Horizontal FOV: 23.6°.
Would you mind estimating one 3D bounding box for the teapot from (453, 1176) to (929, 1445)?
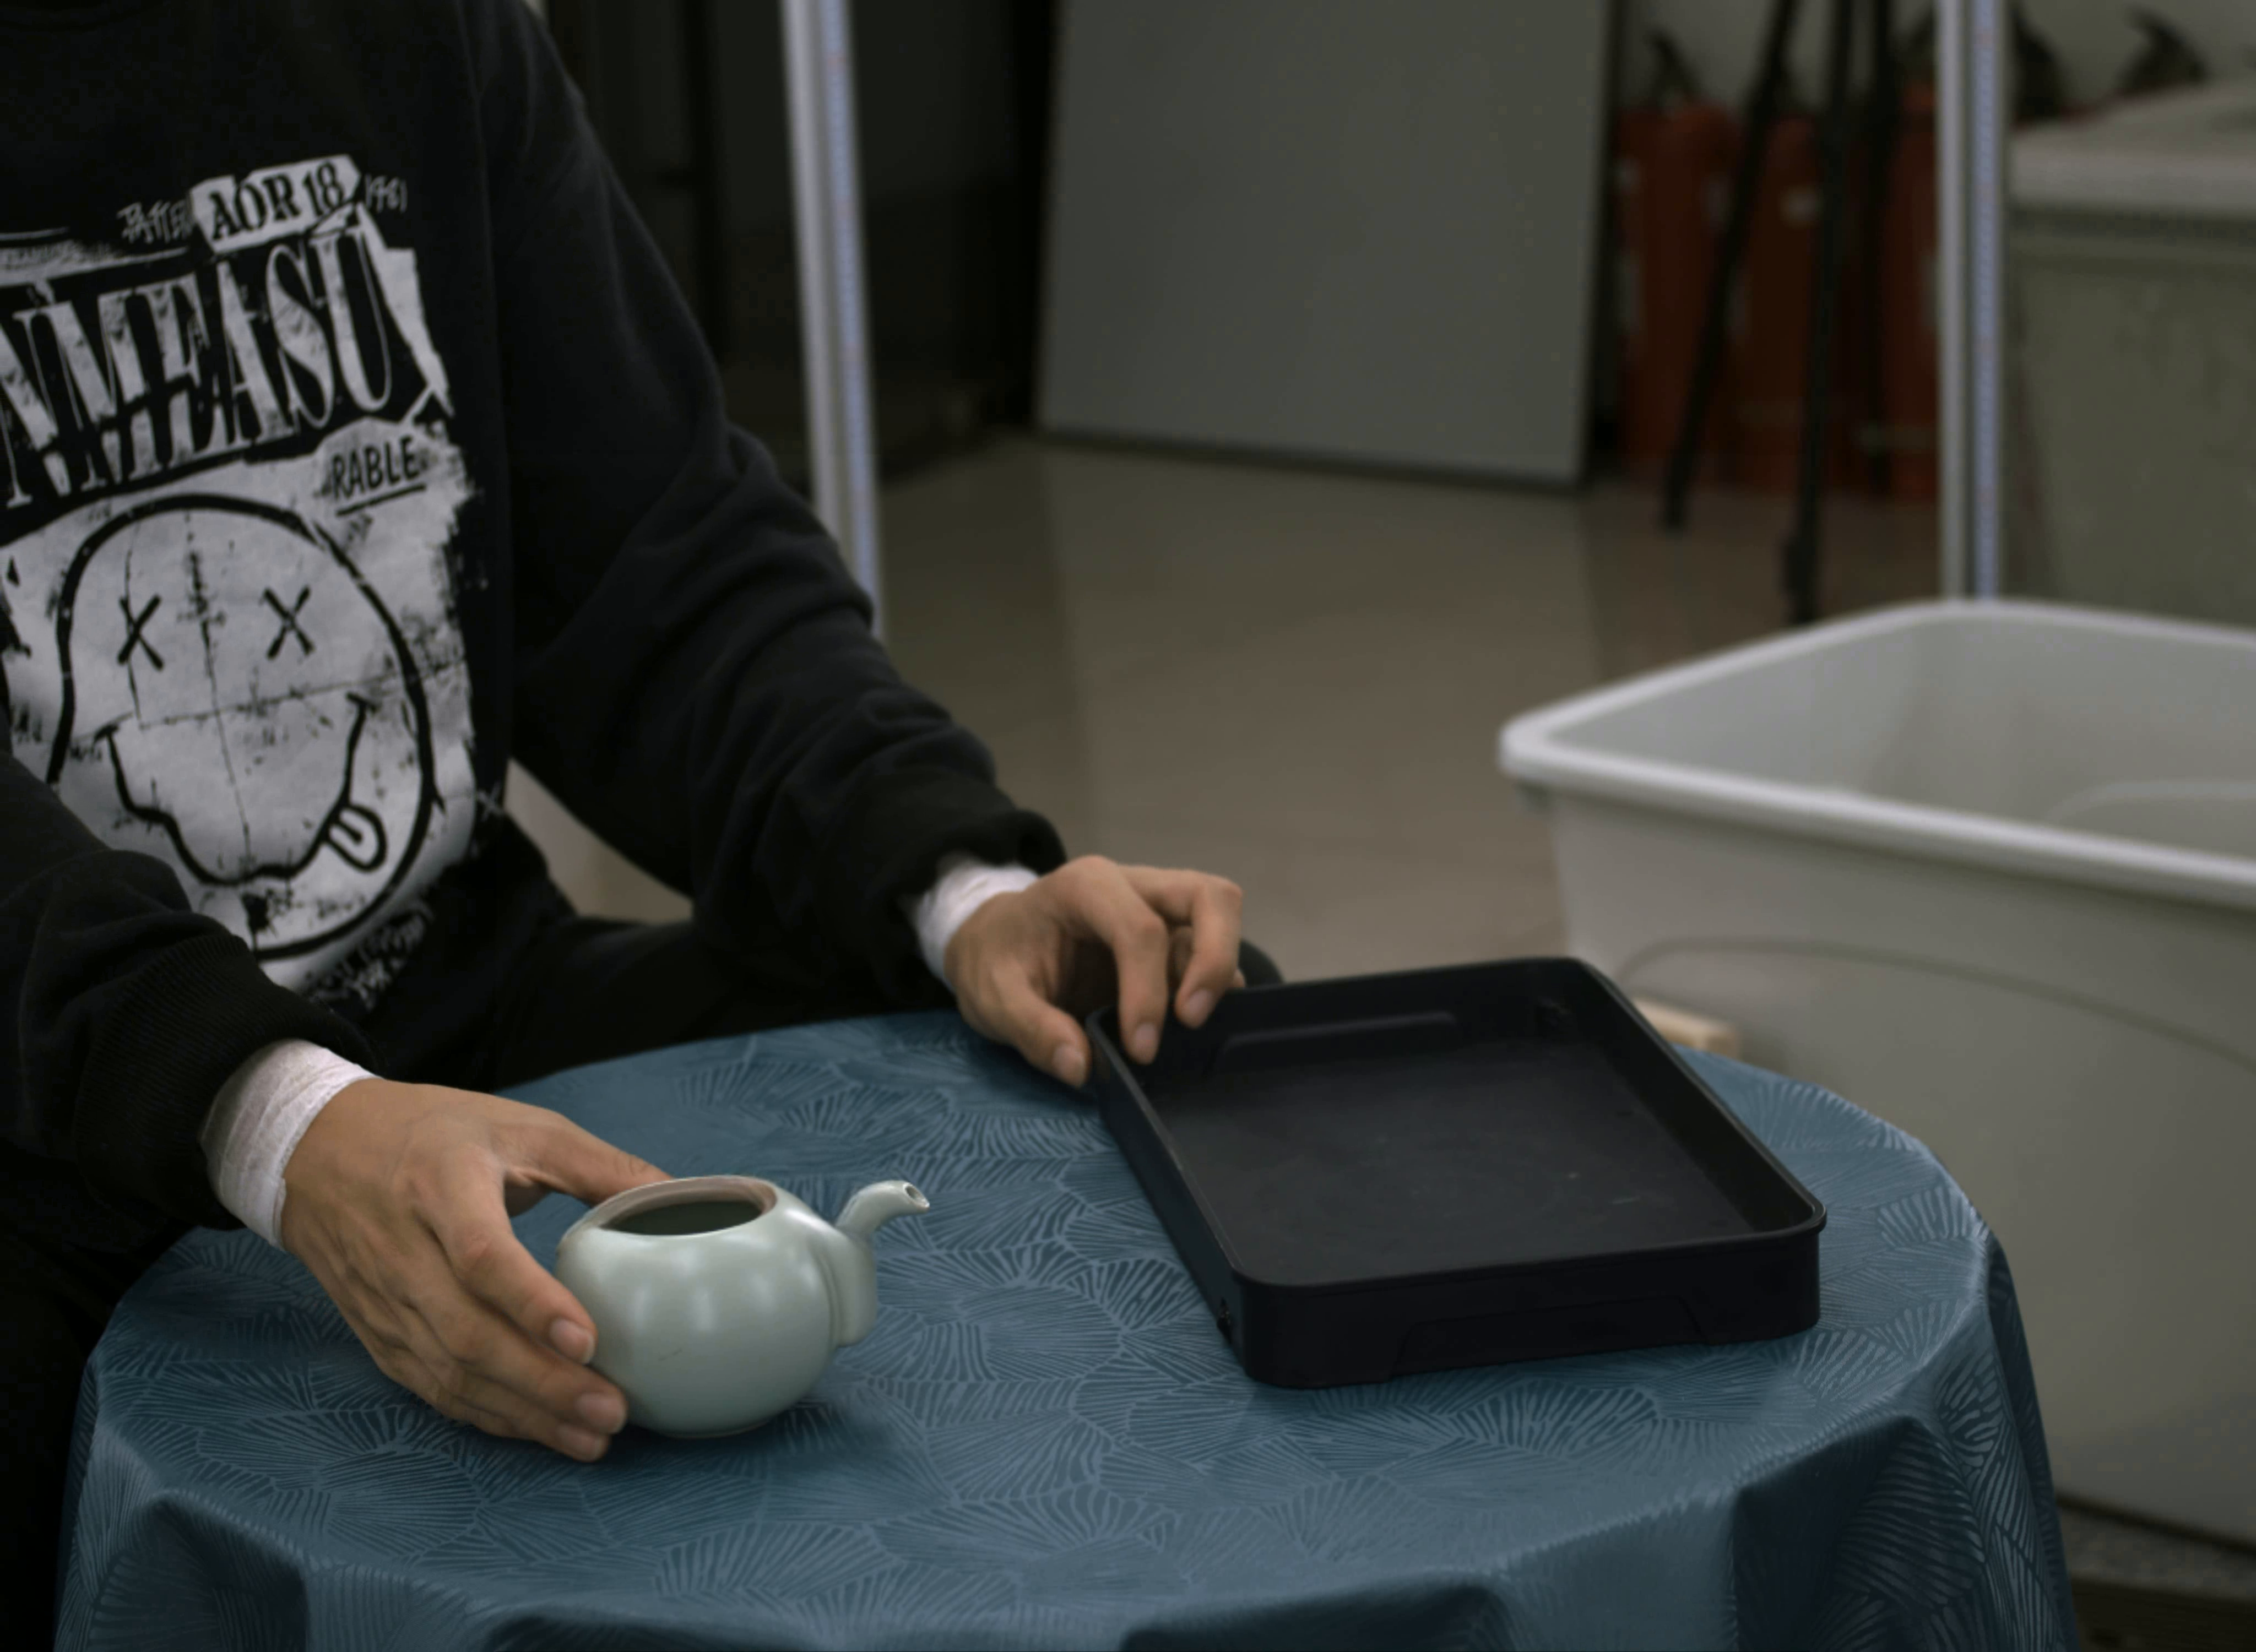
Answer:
[{"bbox_3d":[-0.127,0.140,1.586,0.143,0.075,0.088,0,14,10],"label":"teapot"}]

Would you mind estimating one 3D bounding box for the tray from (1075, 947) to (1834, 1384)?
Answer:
[{"bbox_3d":[0.098,0.104,1.738,0.181,0.037,0.320,-7,14,-9],"label":"tray"}]
